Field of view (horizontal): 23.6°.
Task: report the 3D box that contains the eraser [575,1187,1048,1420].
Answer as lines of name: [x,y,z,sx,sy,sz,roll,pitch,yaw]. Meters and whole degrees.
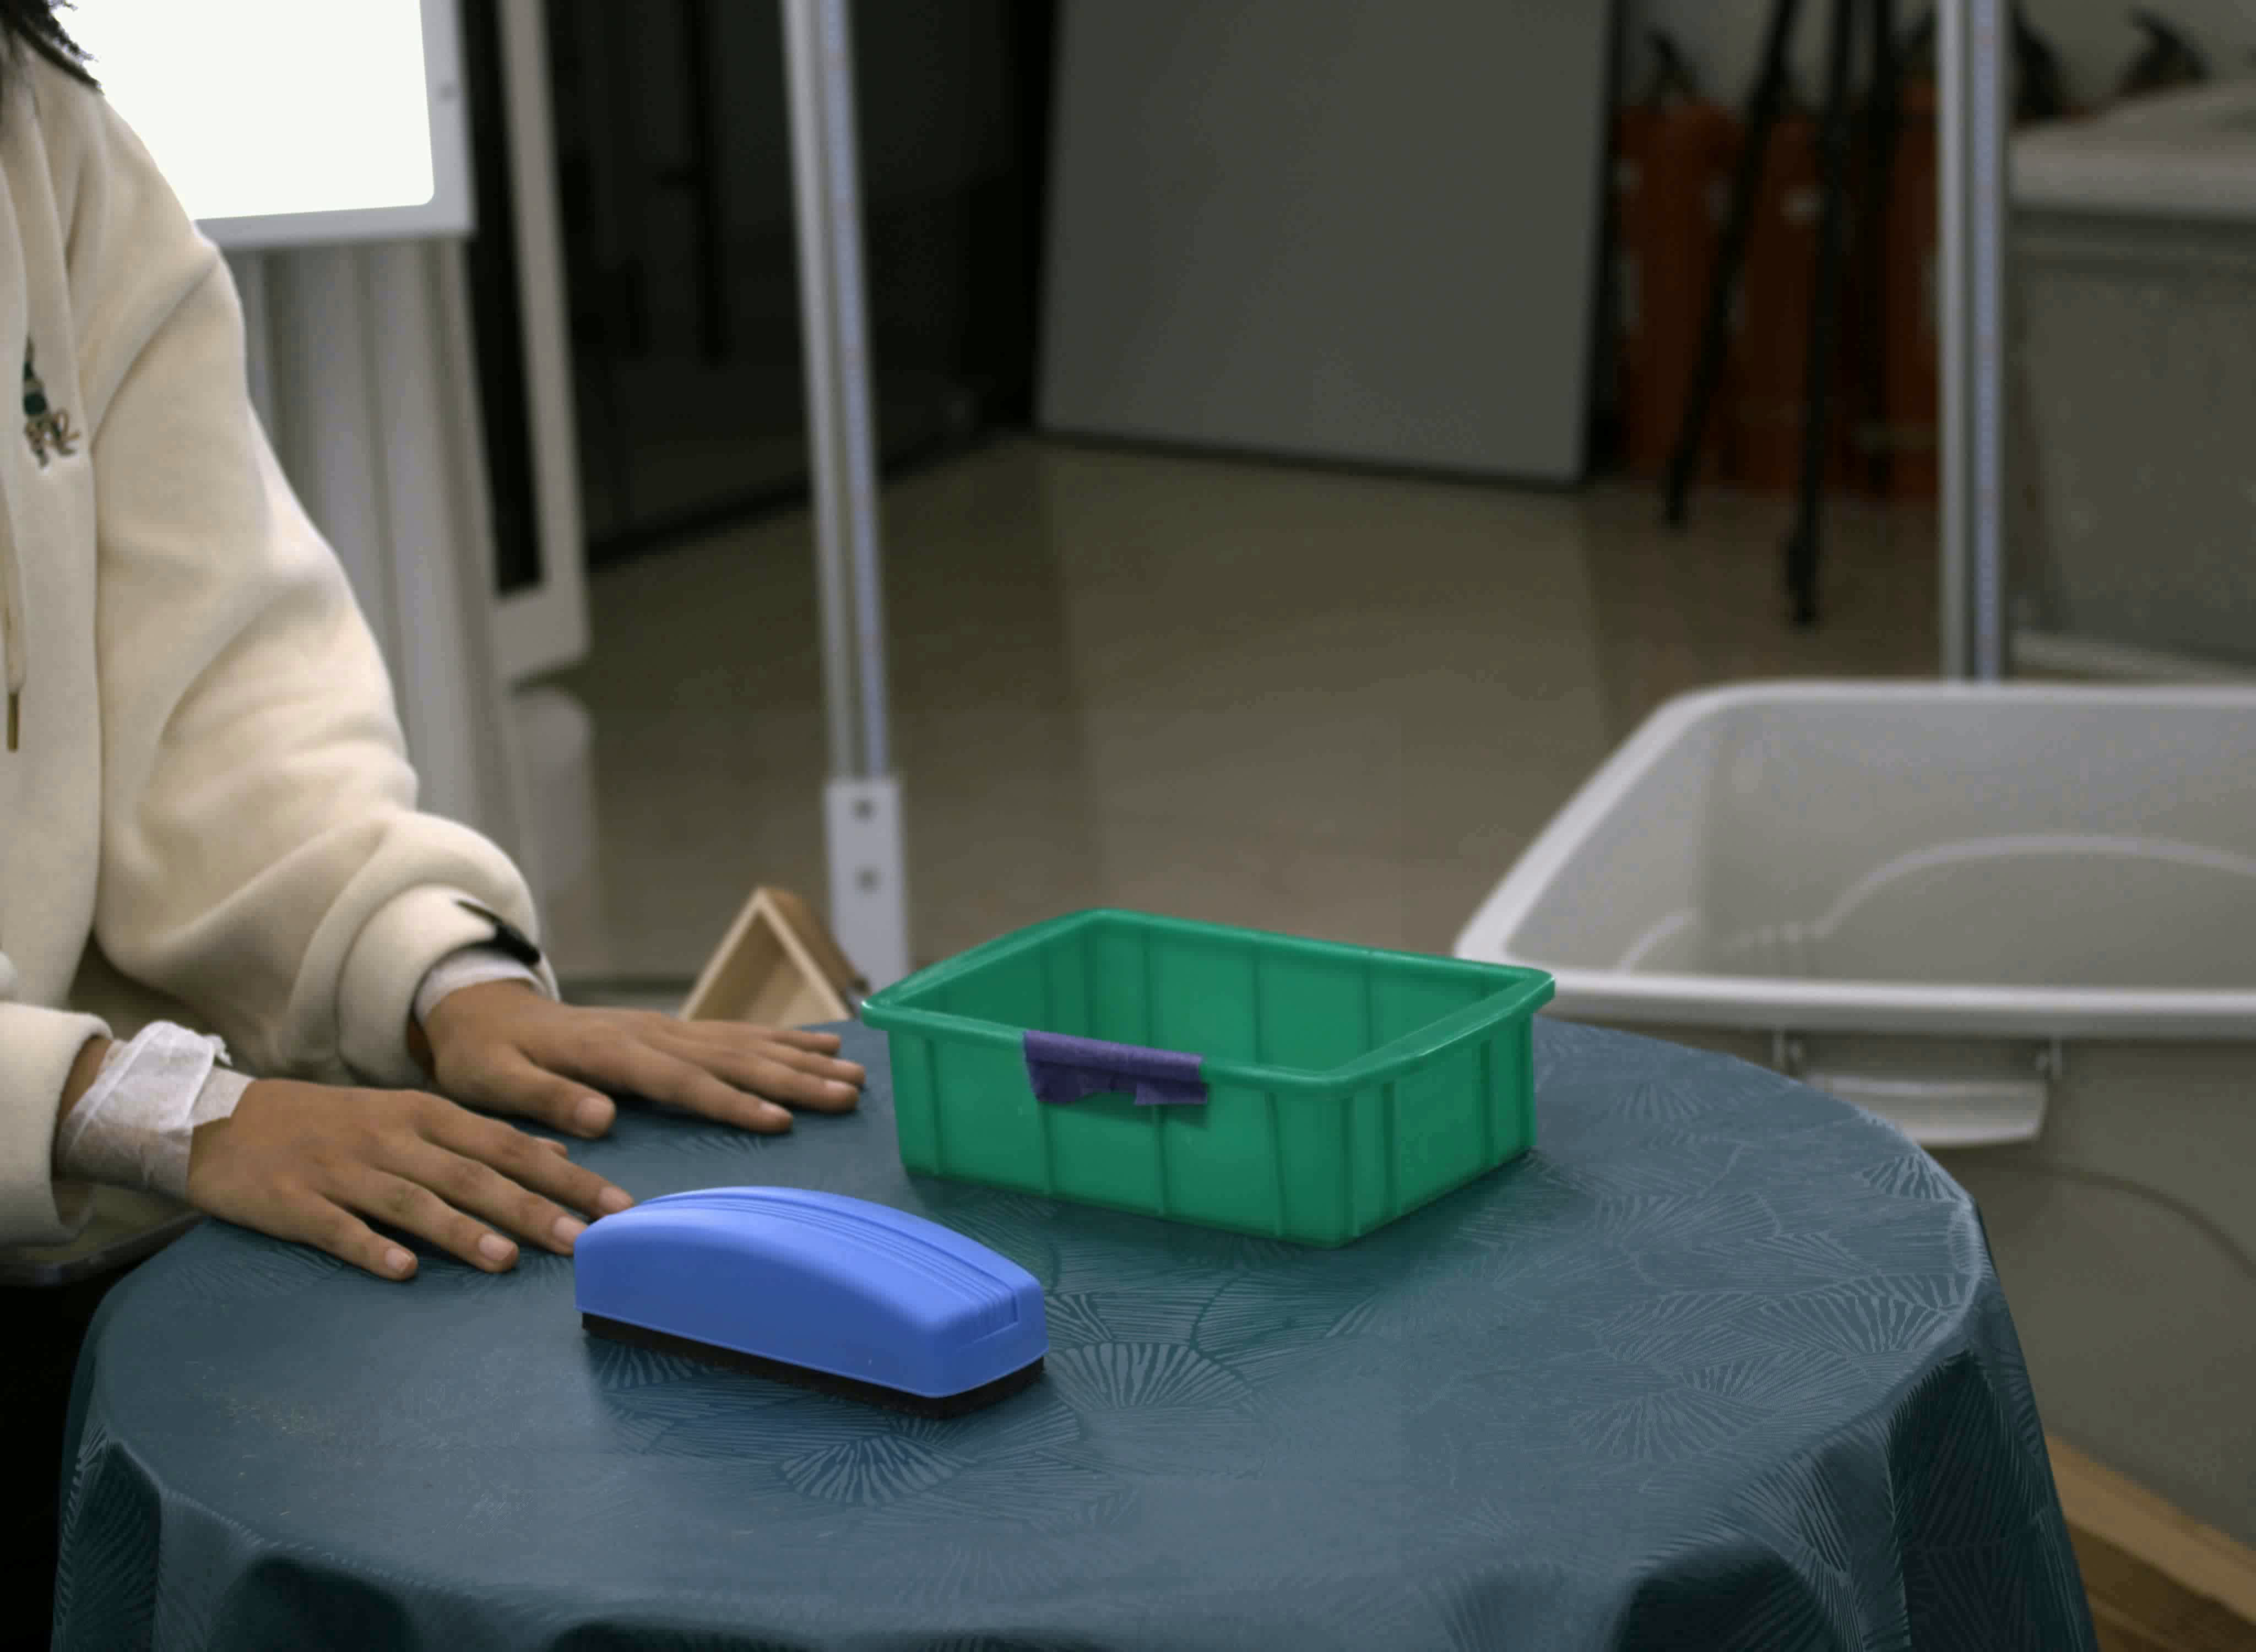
eraser: [-0.097,0.139,1.631,0.163,0.048,0.053,8,18,41]

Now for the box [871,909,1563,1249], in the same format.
box: [0.031,0.083,1.787,0.212,0.066,0.136,7,19,36]
